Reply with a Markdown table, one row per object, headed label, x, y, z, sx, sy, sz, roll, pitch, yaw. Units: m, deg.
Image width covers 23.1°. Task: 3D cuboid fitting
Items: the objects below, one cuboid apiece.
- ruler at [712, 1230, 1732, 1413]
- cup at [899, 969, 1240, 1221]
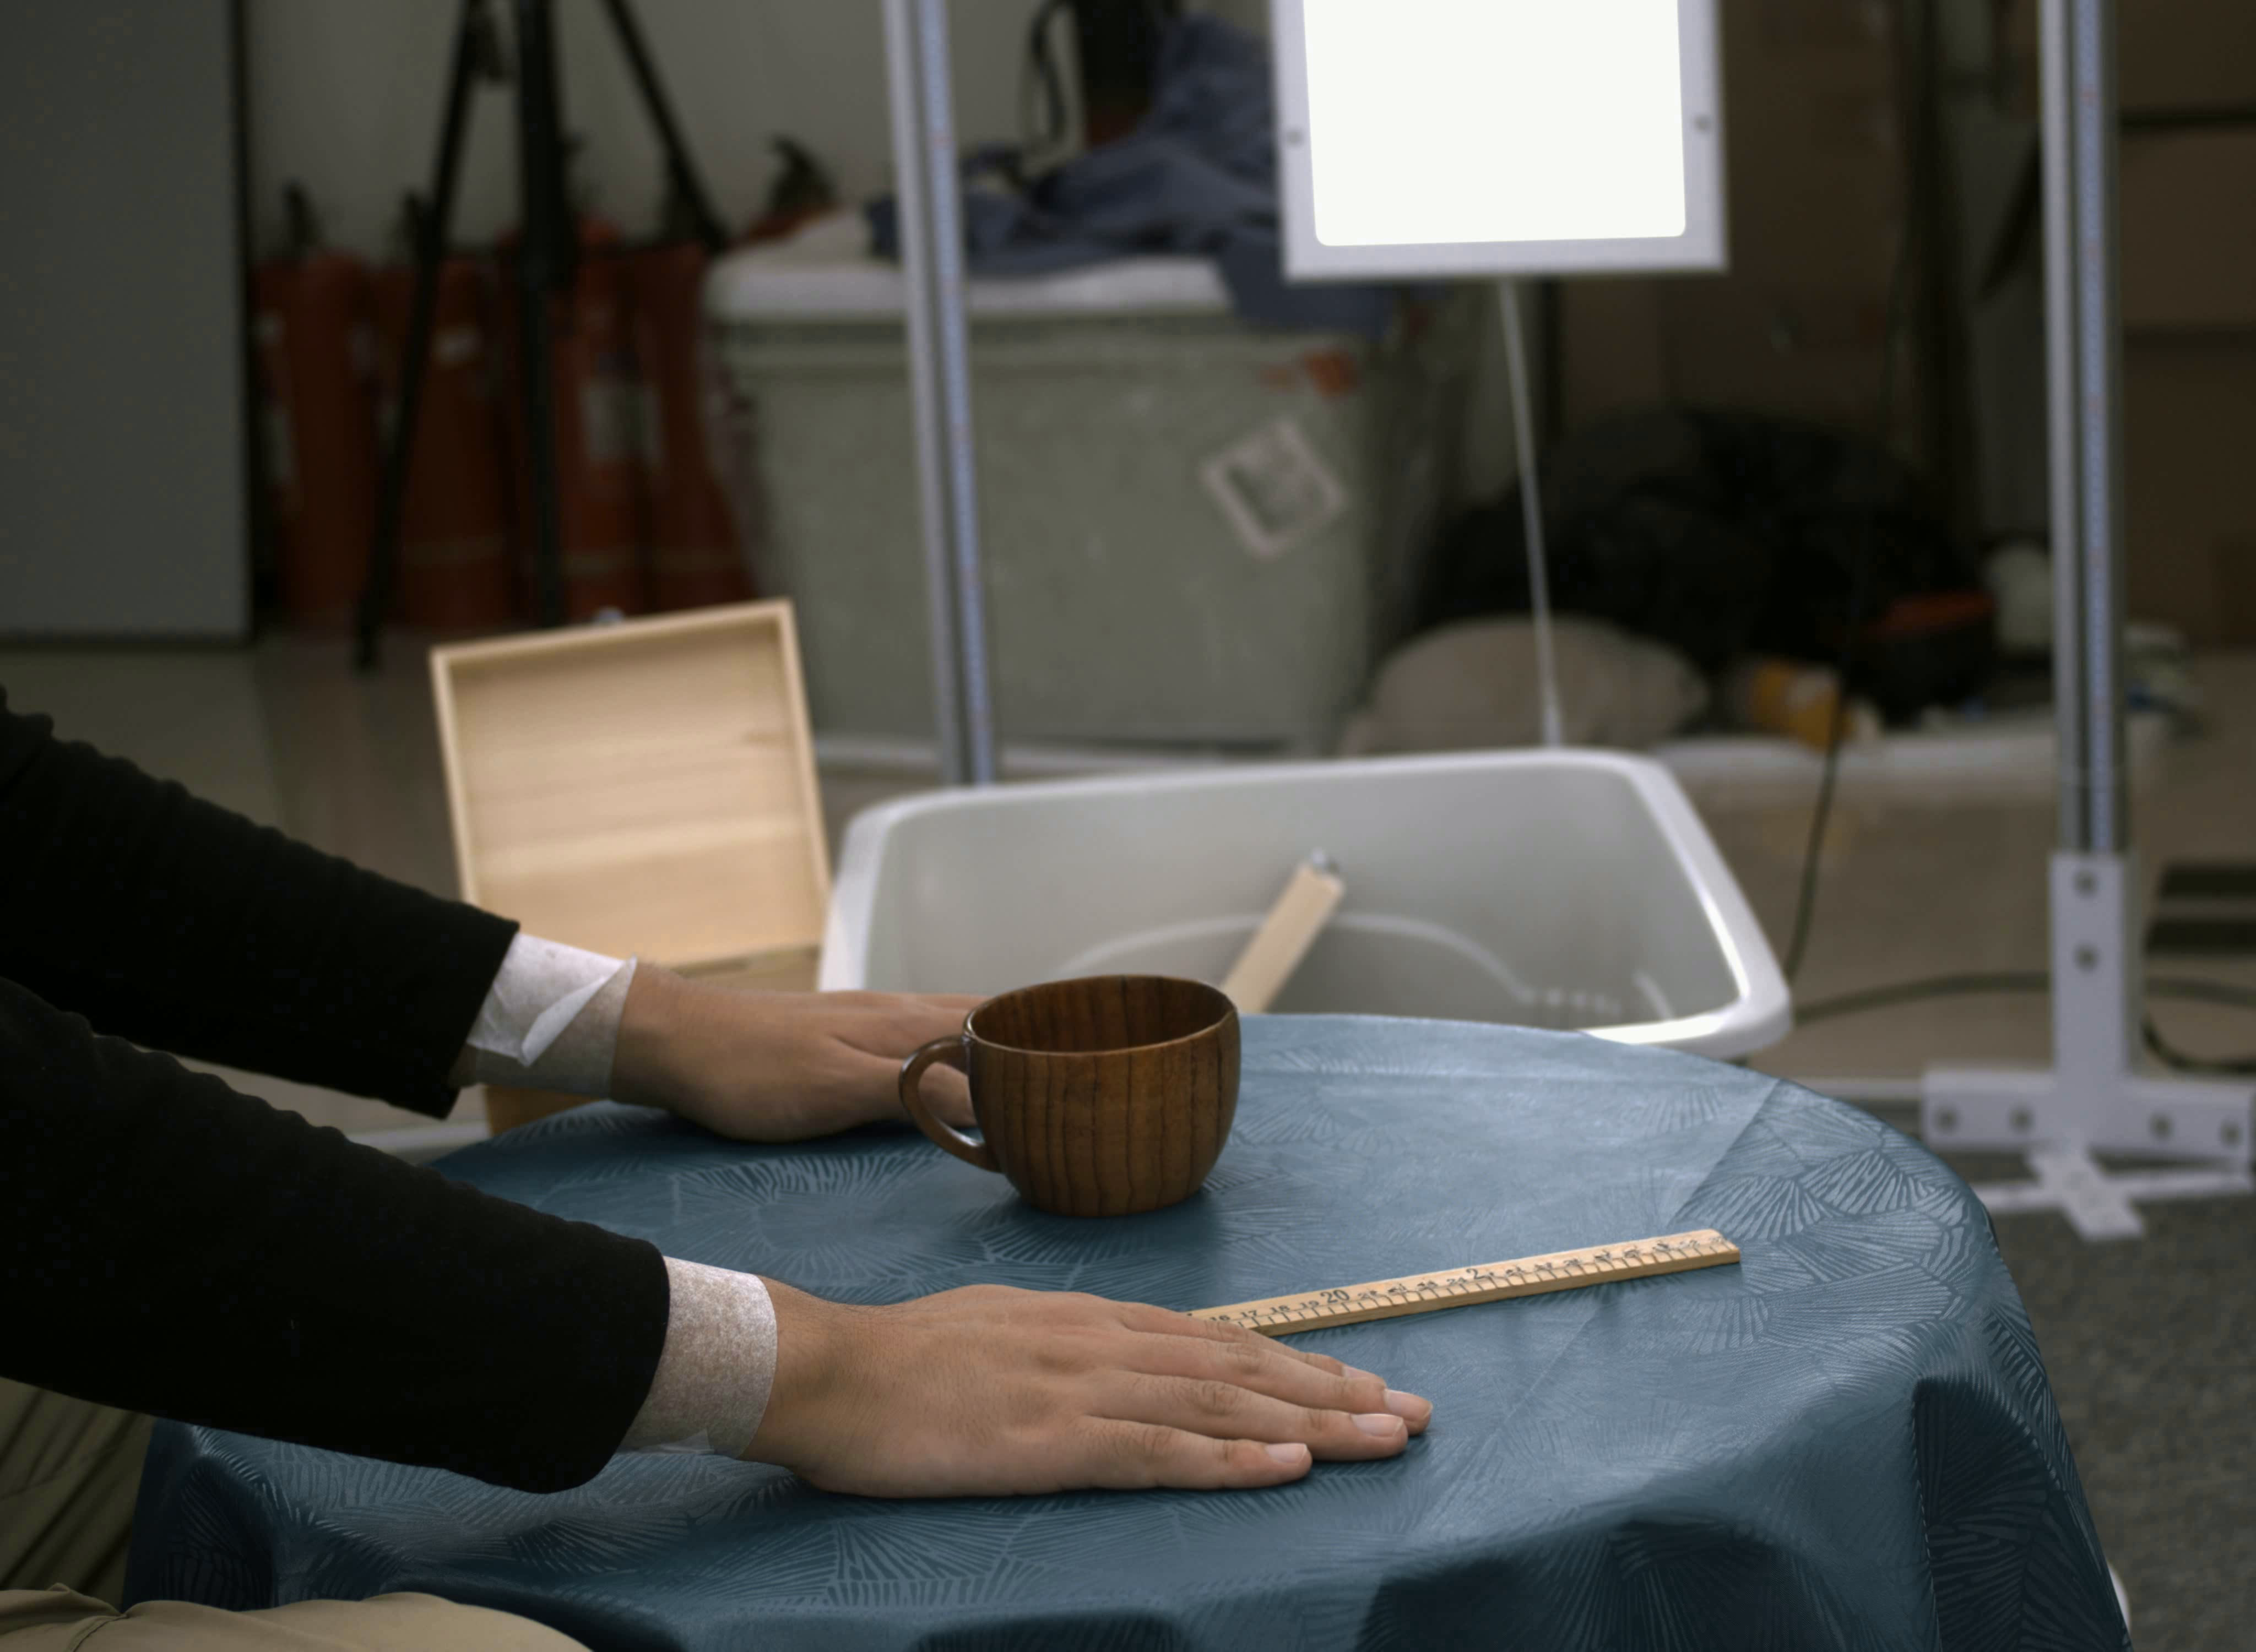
| label | x | y | z | sx | sy | sz | roll | pitch | yaw |
| --- | --- | --- | --- | --- | --- | --- | --- | --- | --- |
| ruler | 0.032 | 0.155 | 1.748 | 0.328 | 0.022 | 0.027 | -7 | 9 | -10 |
| cup | -0.019 | 0.096 | 1.895 | 0.119 | 0.068 | 0.096 | -7 | 16 | -5 |
